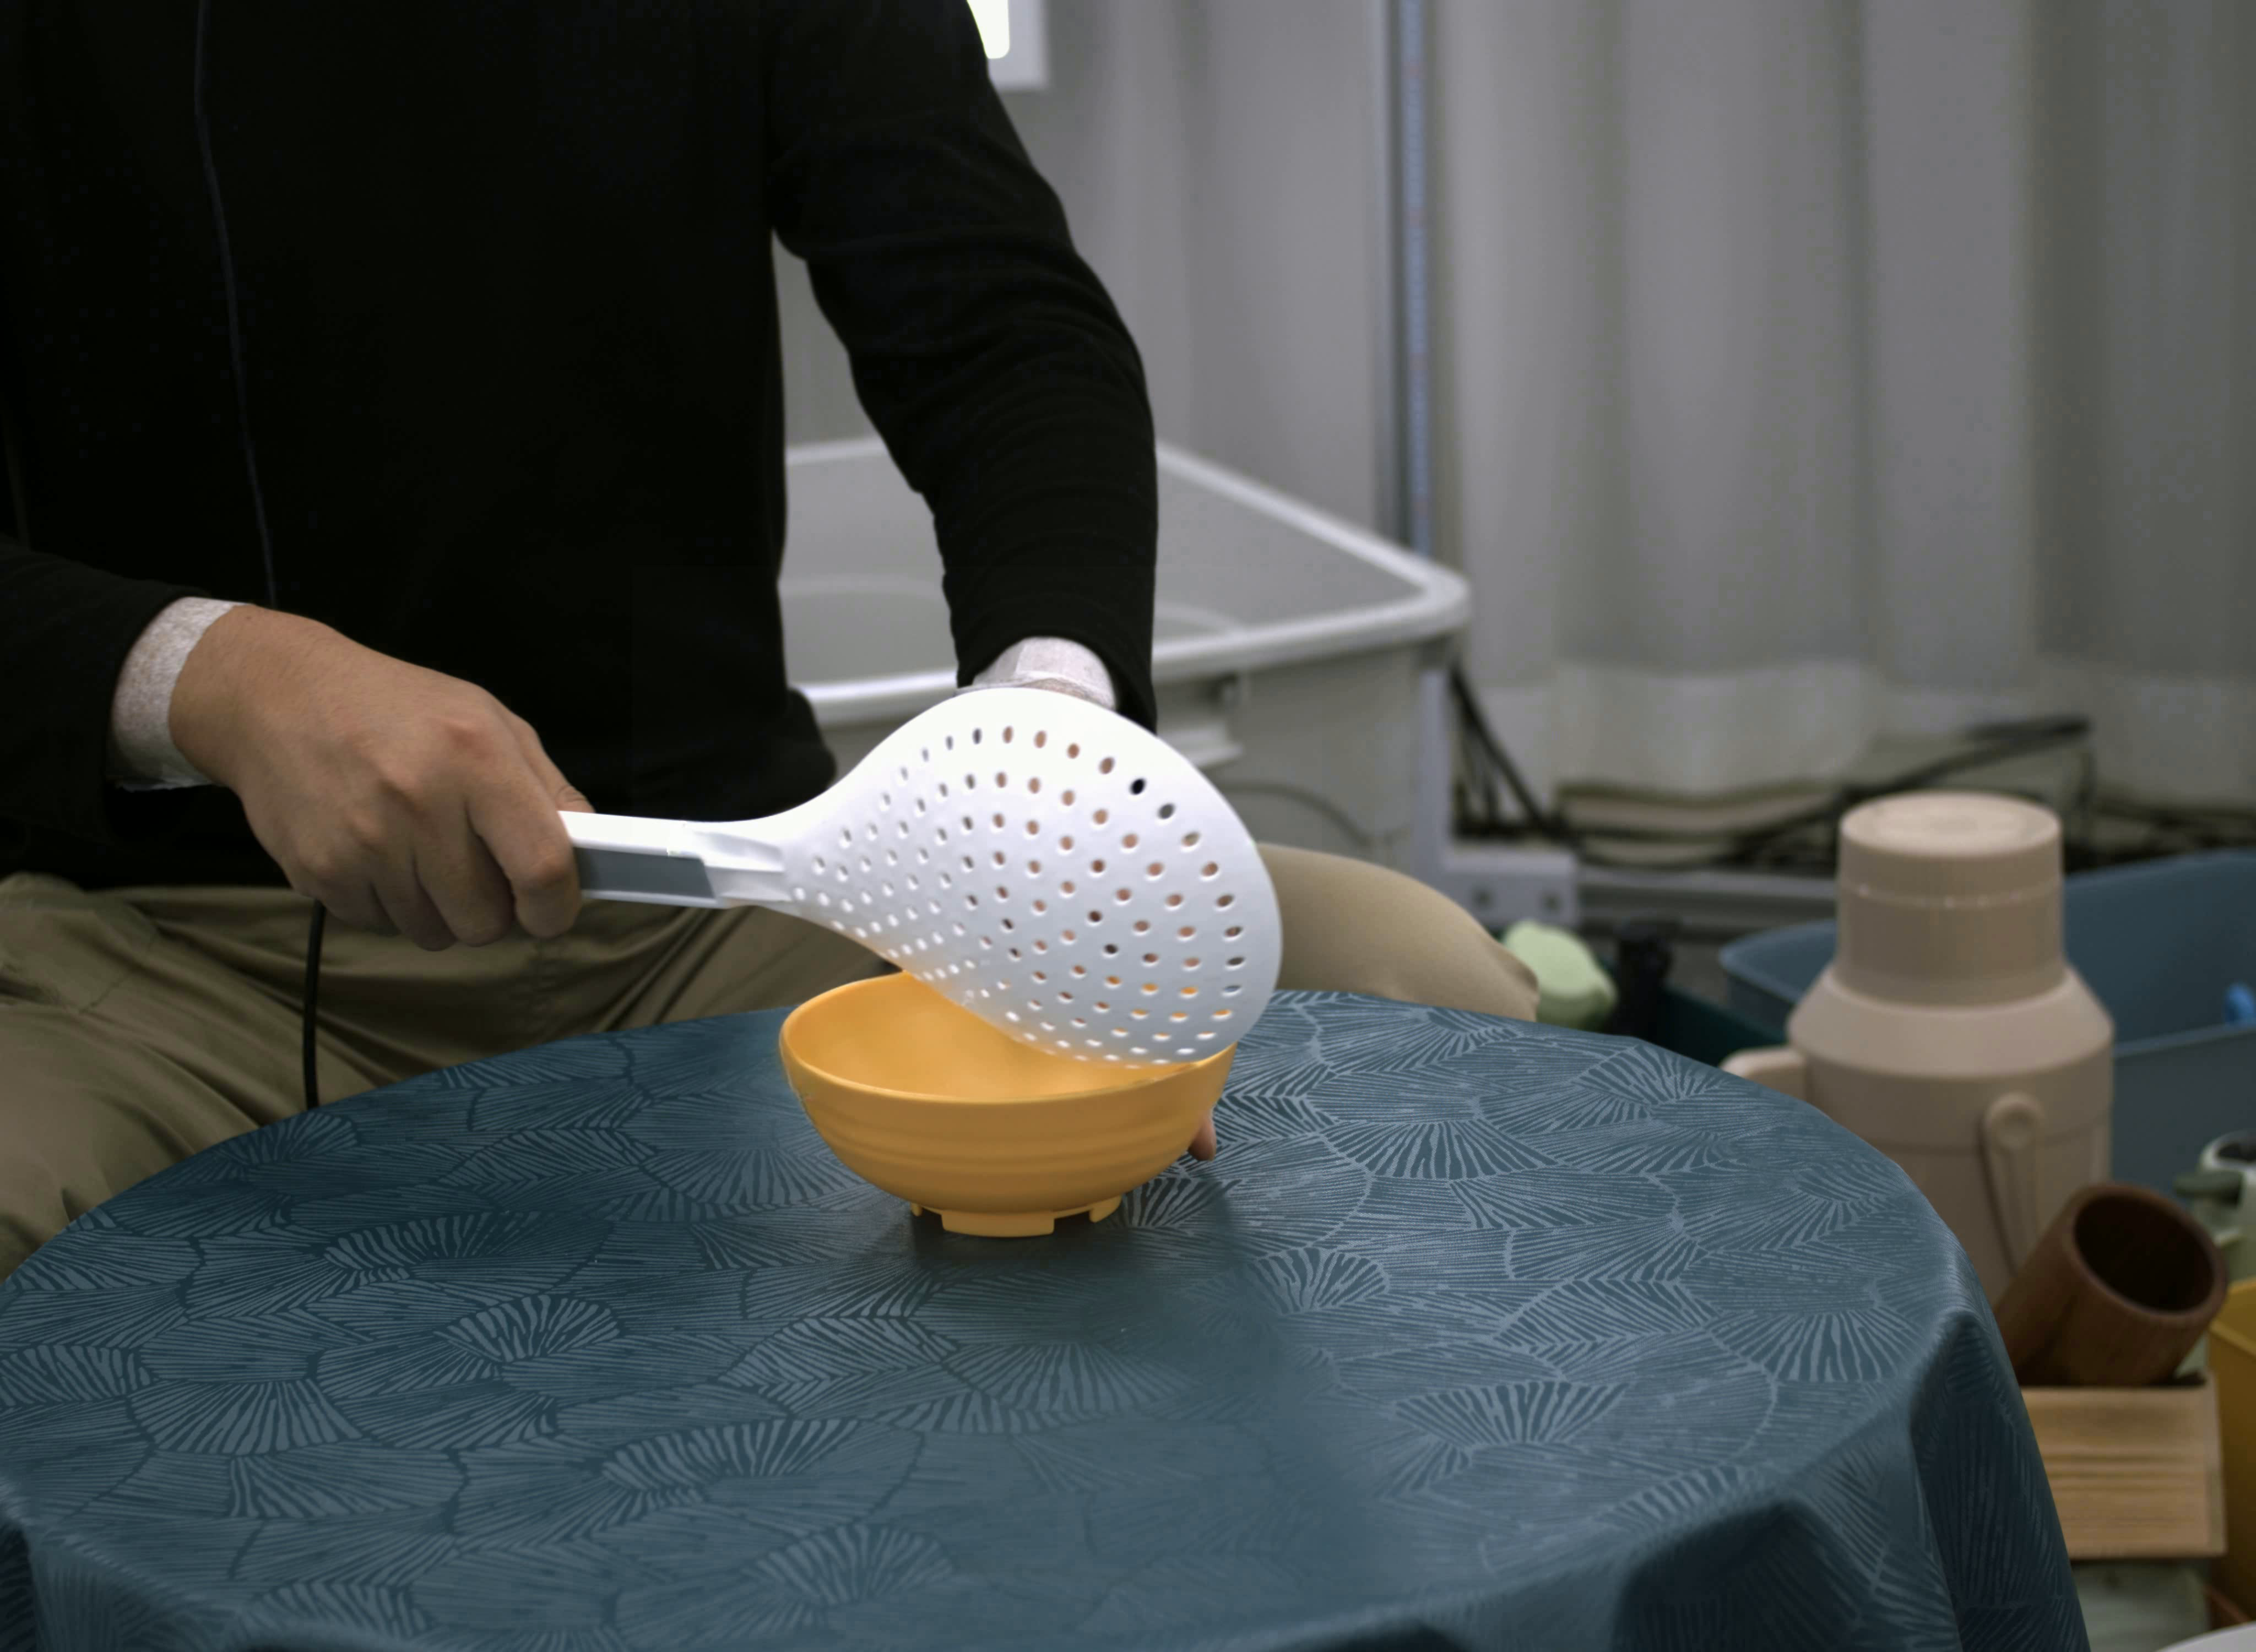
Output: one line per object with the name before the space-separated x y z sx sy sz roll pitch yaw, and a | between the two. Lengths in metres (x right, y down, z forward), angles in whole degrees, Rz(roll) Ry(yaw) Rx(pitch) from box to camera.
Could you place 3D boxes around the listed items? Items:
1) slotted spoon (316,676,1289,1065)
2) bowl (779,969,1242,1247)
slotted spoon | -0.109 0.012 1.683 0.351 0.134 0.046 7 35 35
bowl | -0.037 0.092 1.701 0.145 0.060 0.146 1 15 -1
